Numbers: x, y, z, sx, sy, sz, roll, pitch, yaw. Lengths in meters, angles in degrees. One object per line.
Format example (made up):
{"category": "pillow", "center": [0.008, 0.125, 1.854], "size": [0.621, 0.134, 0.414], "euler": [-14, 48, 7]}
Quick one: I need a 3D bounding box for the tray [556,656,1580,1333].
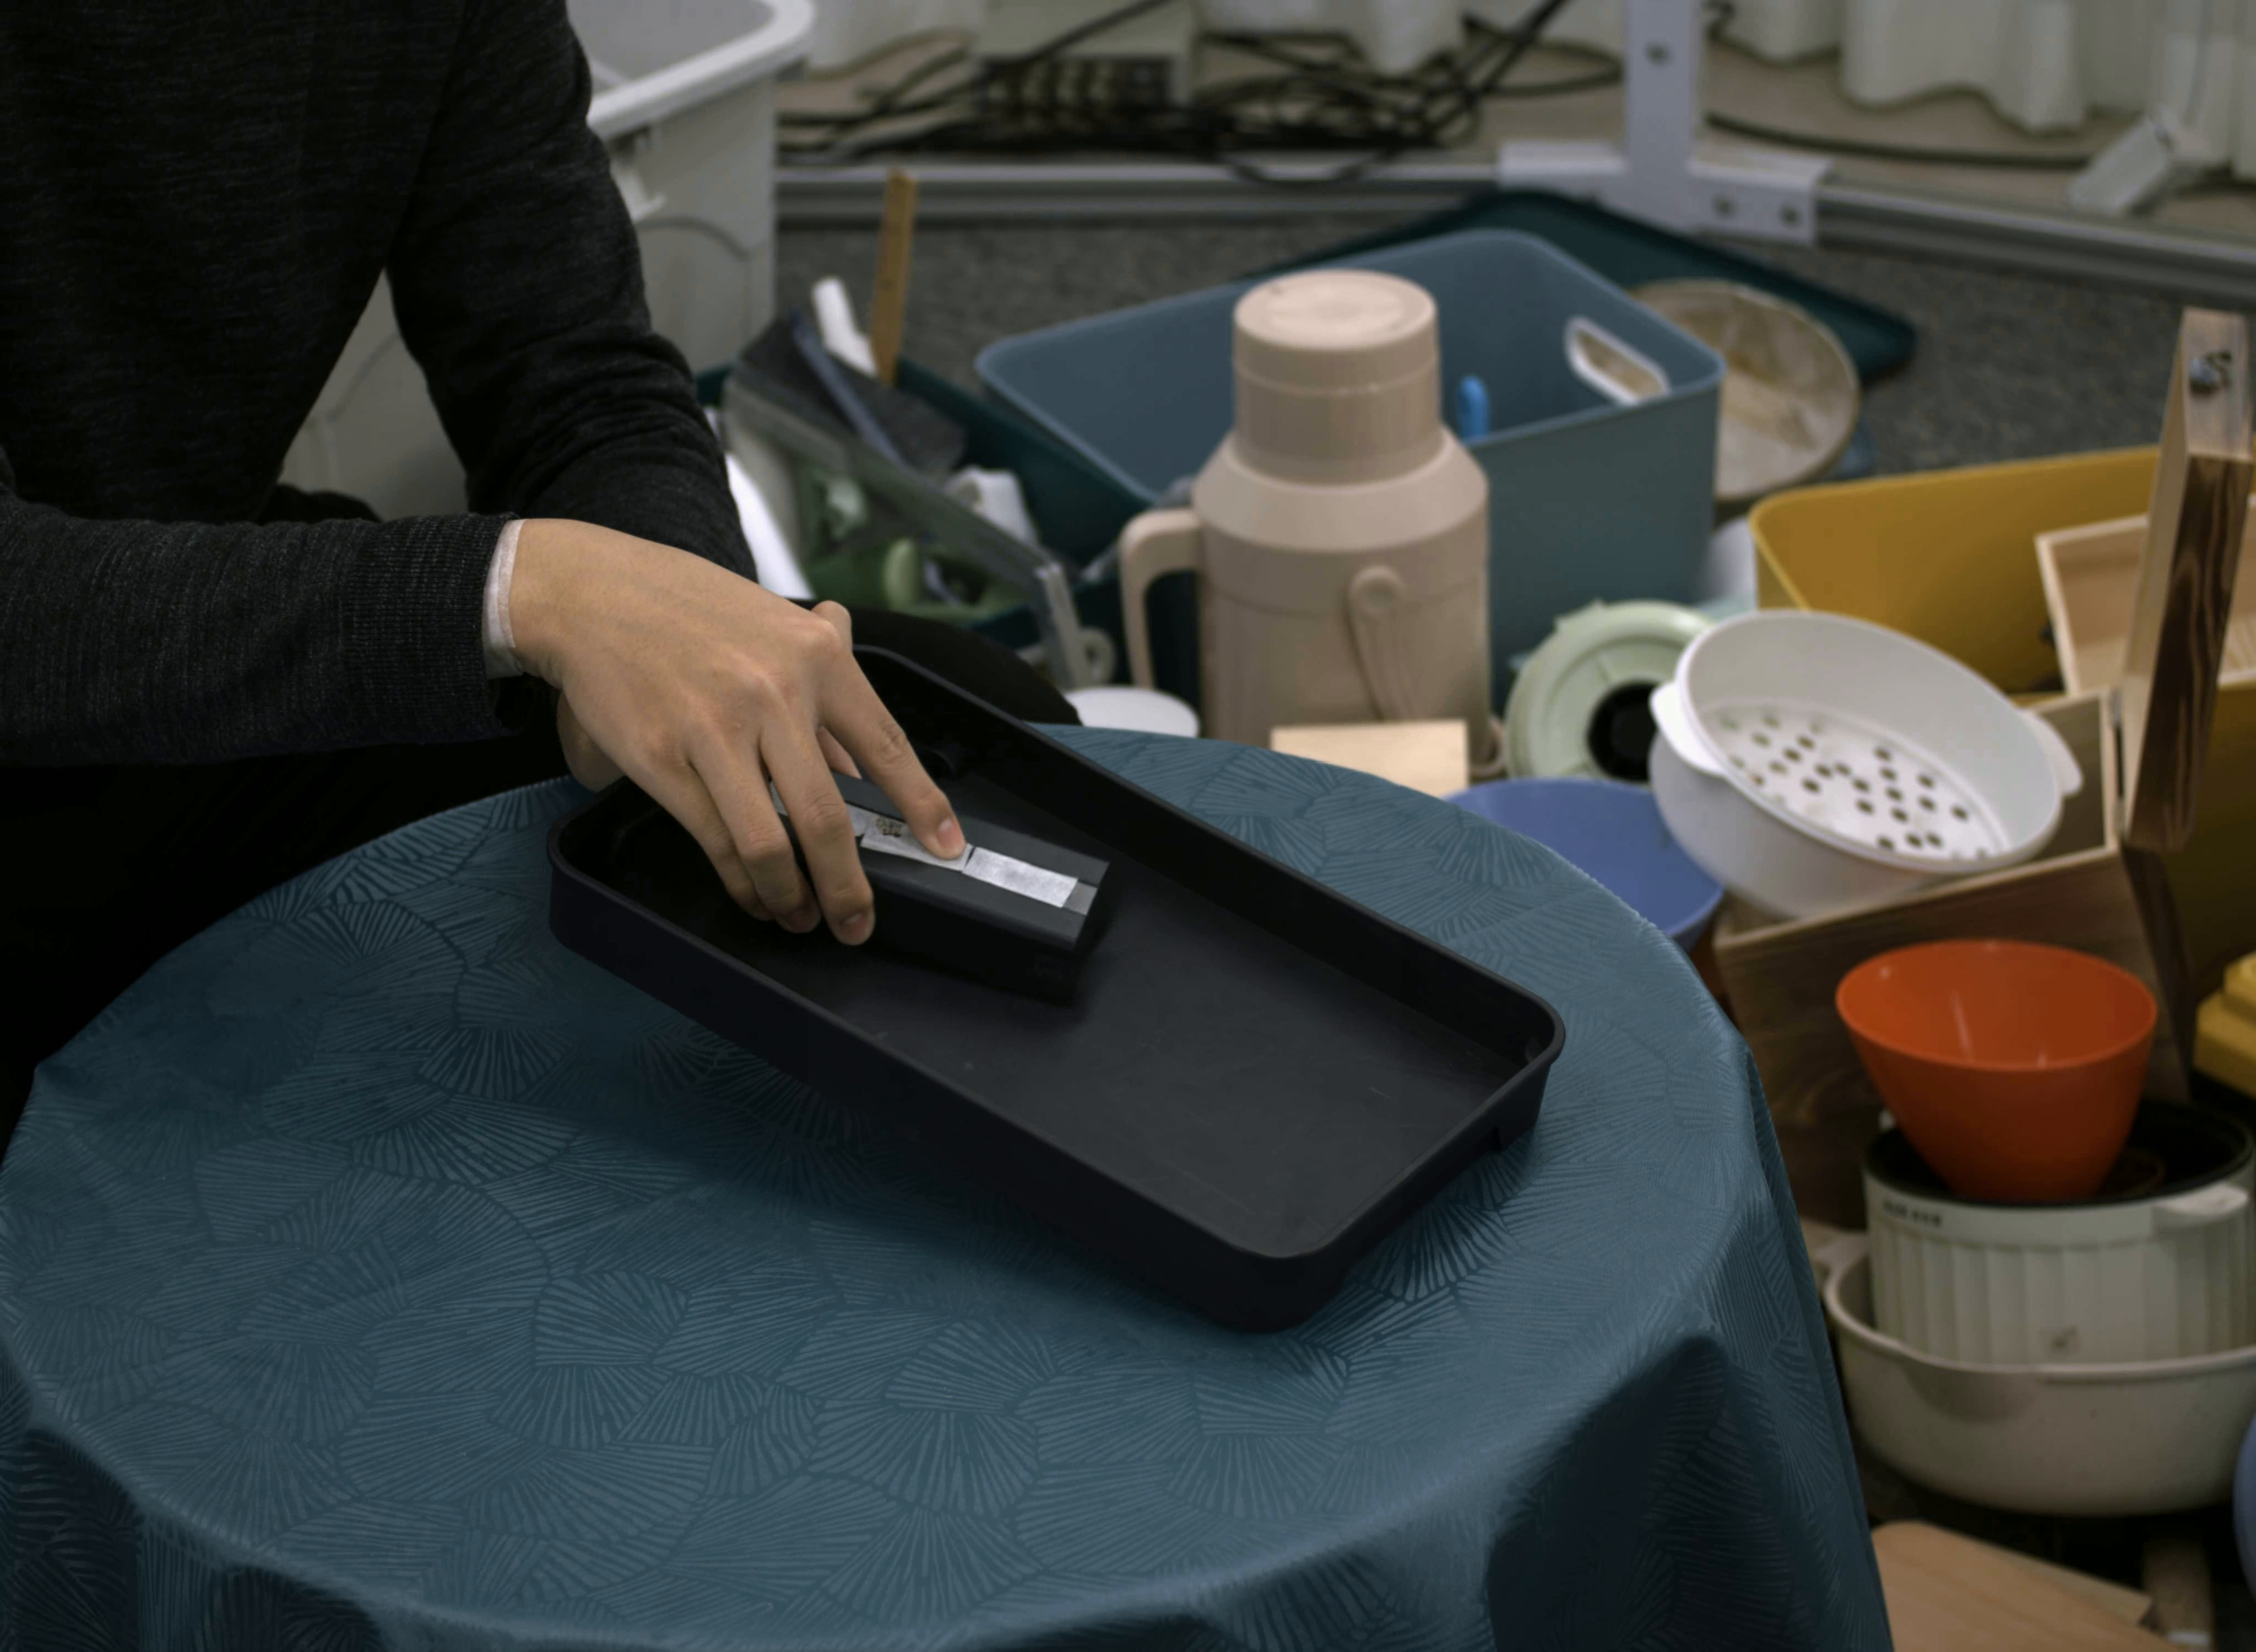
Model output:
{"category": "tray", "center": [-0.022, 0.051, 1.890], "size": [0.317, 0.036, 0.187], "euler": [27, 38, 24]}

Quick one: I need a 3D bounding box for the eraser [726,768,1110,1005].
{"category": "eraser", "center": [-0.071, 0.020, 1.913], "size": [0.125, 0.030, 0.054], "euler": [17, 36, 6]}
